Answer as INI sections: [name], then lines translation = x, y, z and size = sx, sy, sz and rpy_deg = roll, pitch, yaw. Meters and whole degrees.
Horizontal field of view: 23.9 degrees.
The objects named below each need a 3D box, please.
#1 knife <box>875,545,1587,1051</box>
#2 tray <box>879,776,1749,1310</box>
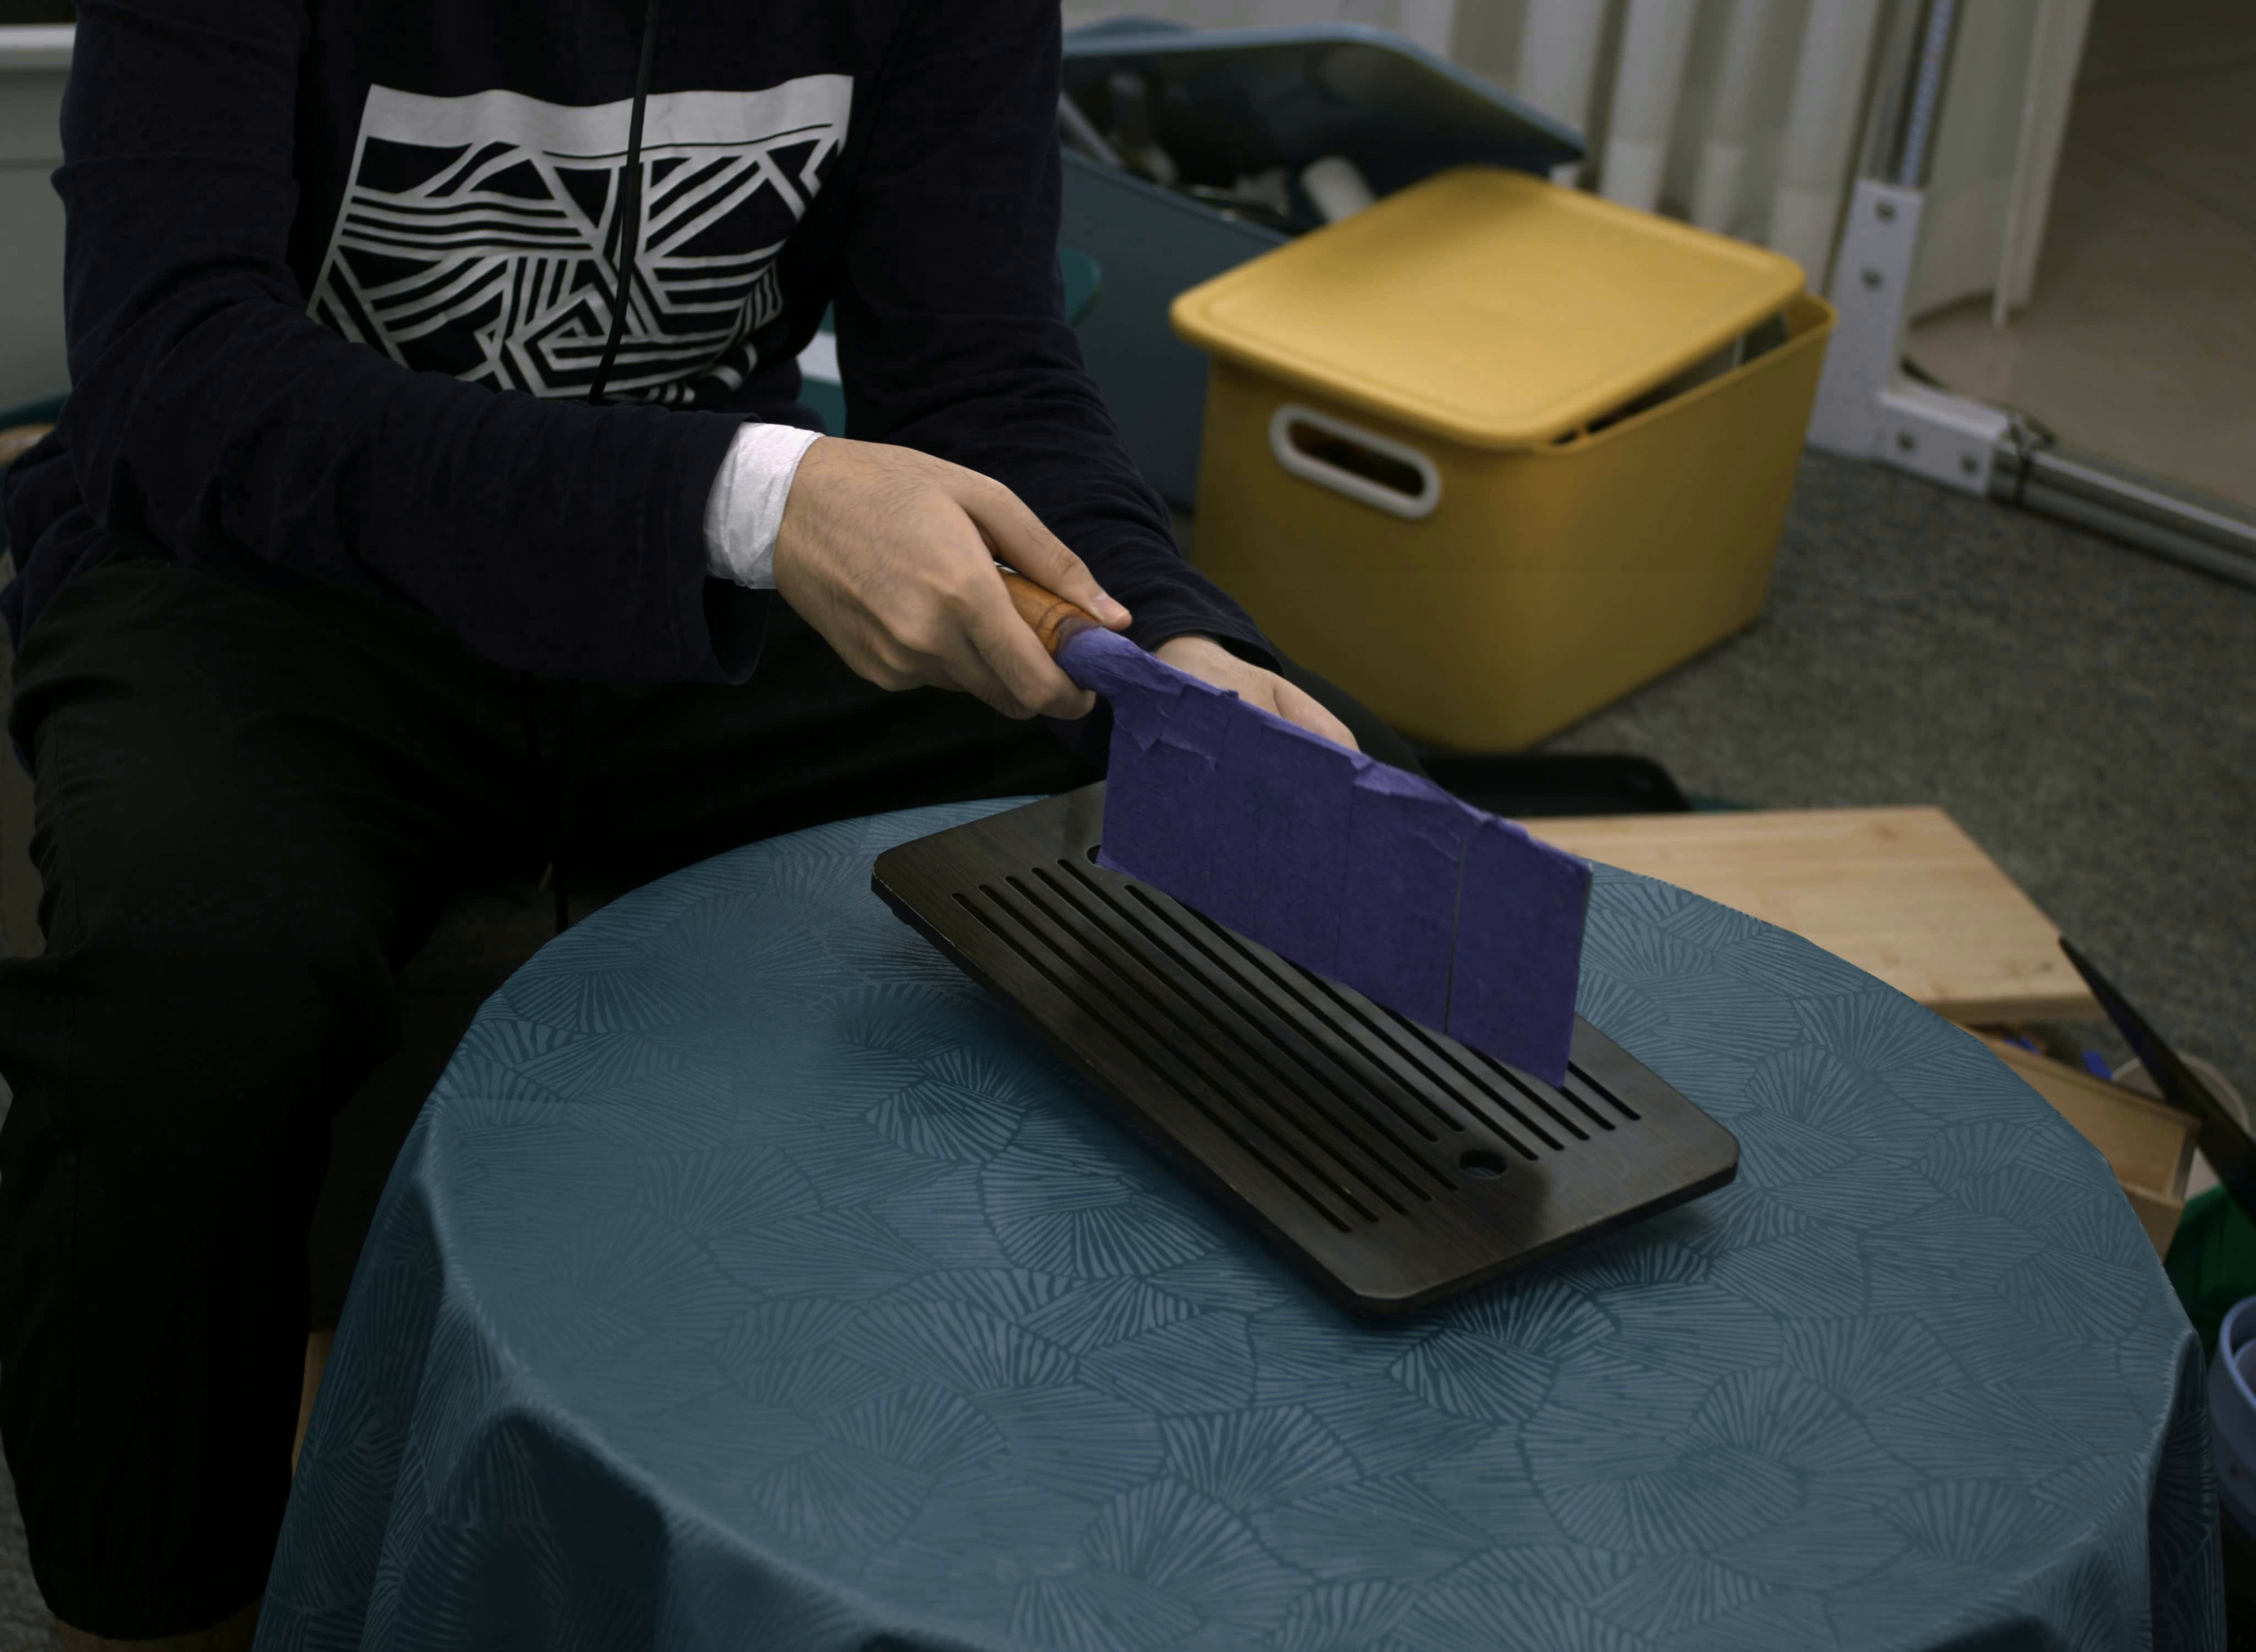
[knife]
translation = 0.030, -0.008, 1.862
size = 0.317, 0.103, 0.032
rpy_deg = 26, 34, 36
[tray]
translation = 0.061, 0.068, 1.877
size = 0.169, 0.018, 0.308
rpy_deg = -18, 39, -31
